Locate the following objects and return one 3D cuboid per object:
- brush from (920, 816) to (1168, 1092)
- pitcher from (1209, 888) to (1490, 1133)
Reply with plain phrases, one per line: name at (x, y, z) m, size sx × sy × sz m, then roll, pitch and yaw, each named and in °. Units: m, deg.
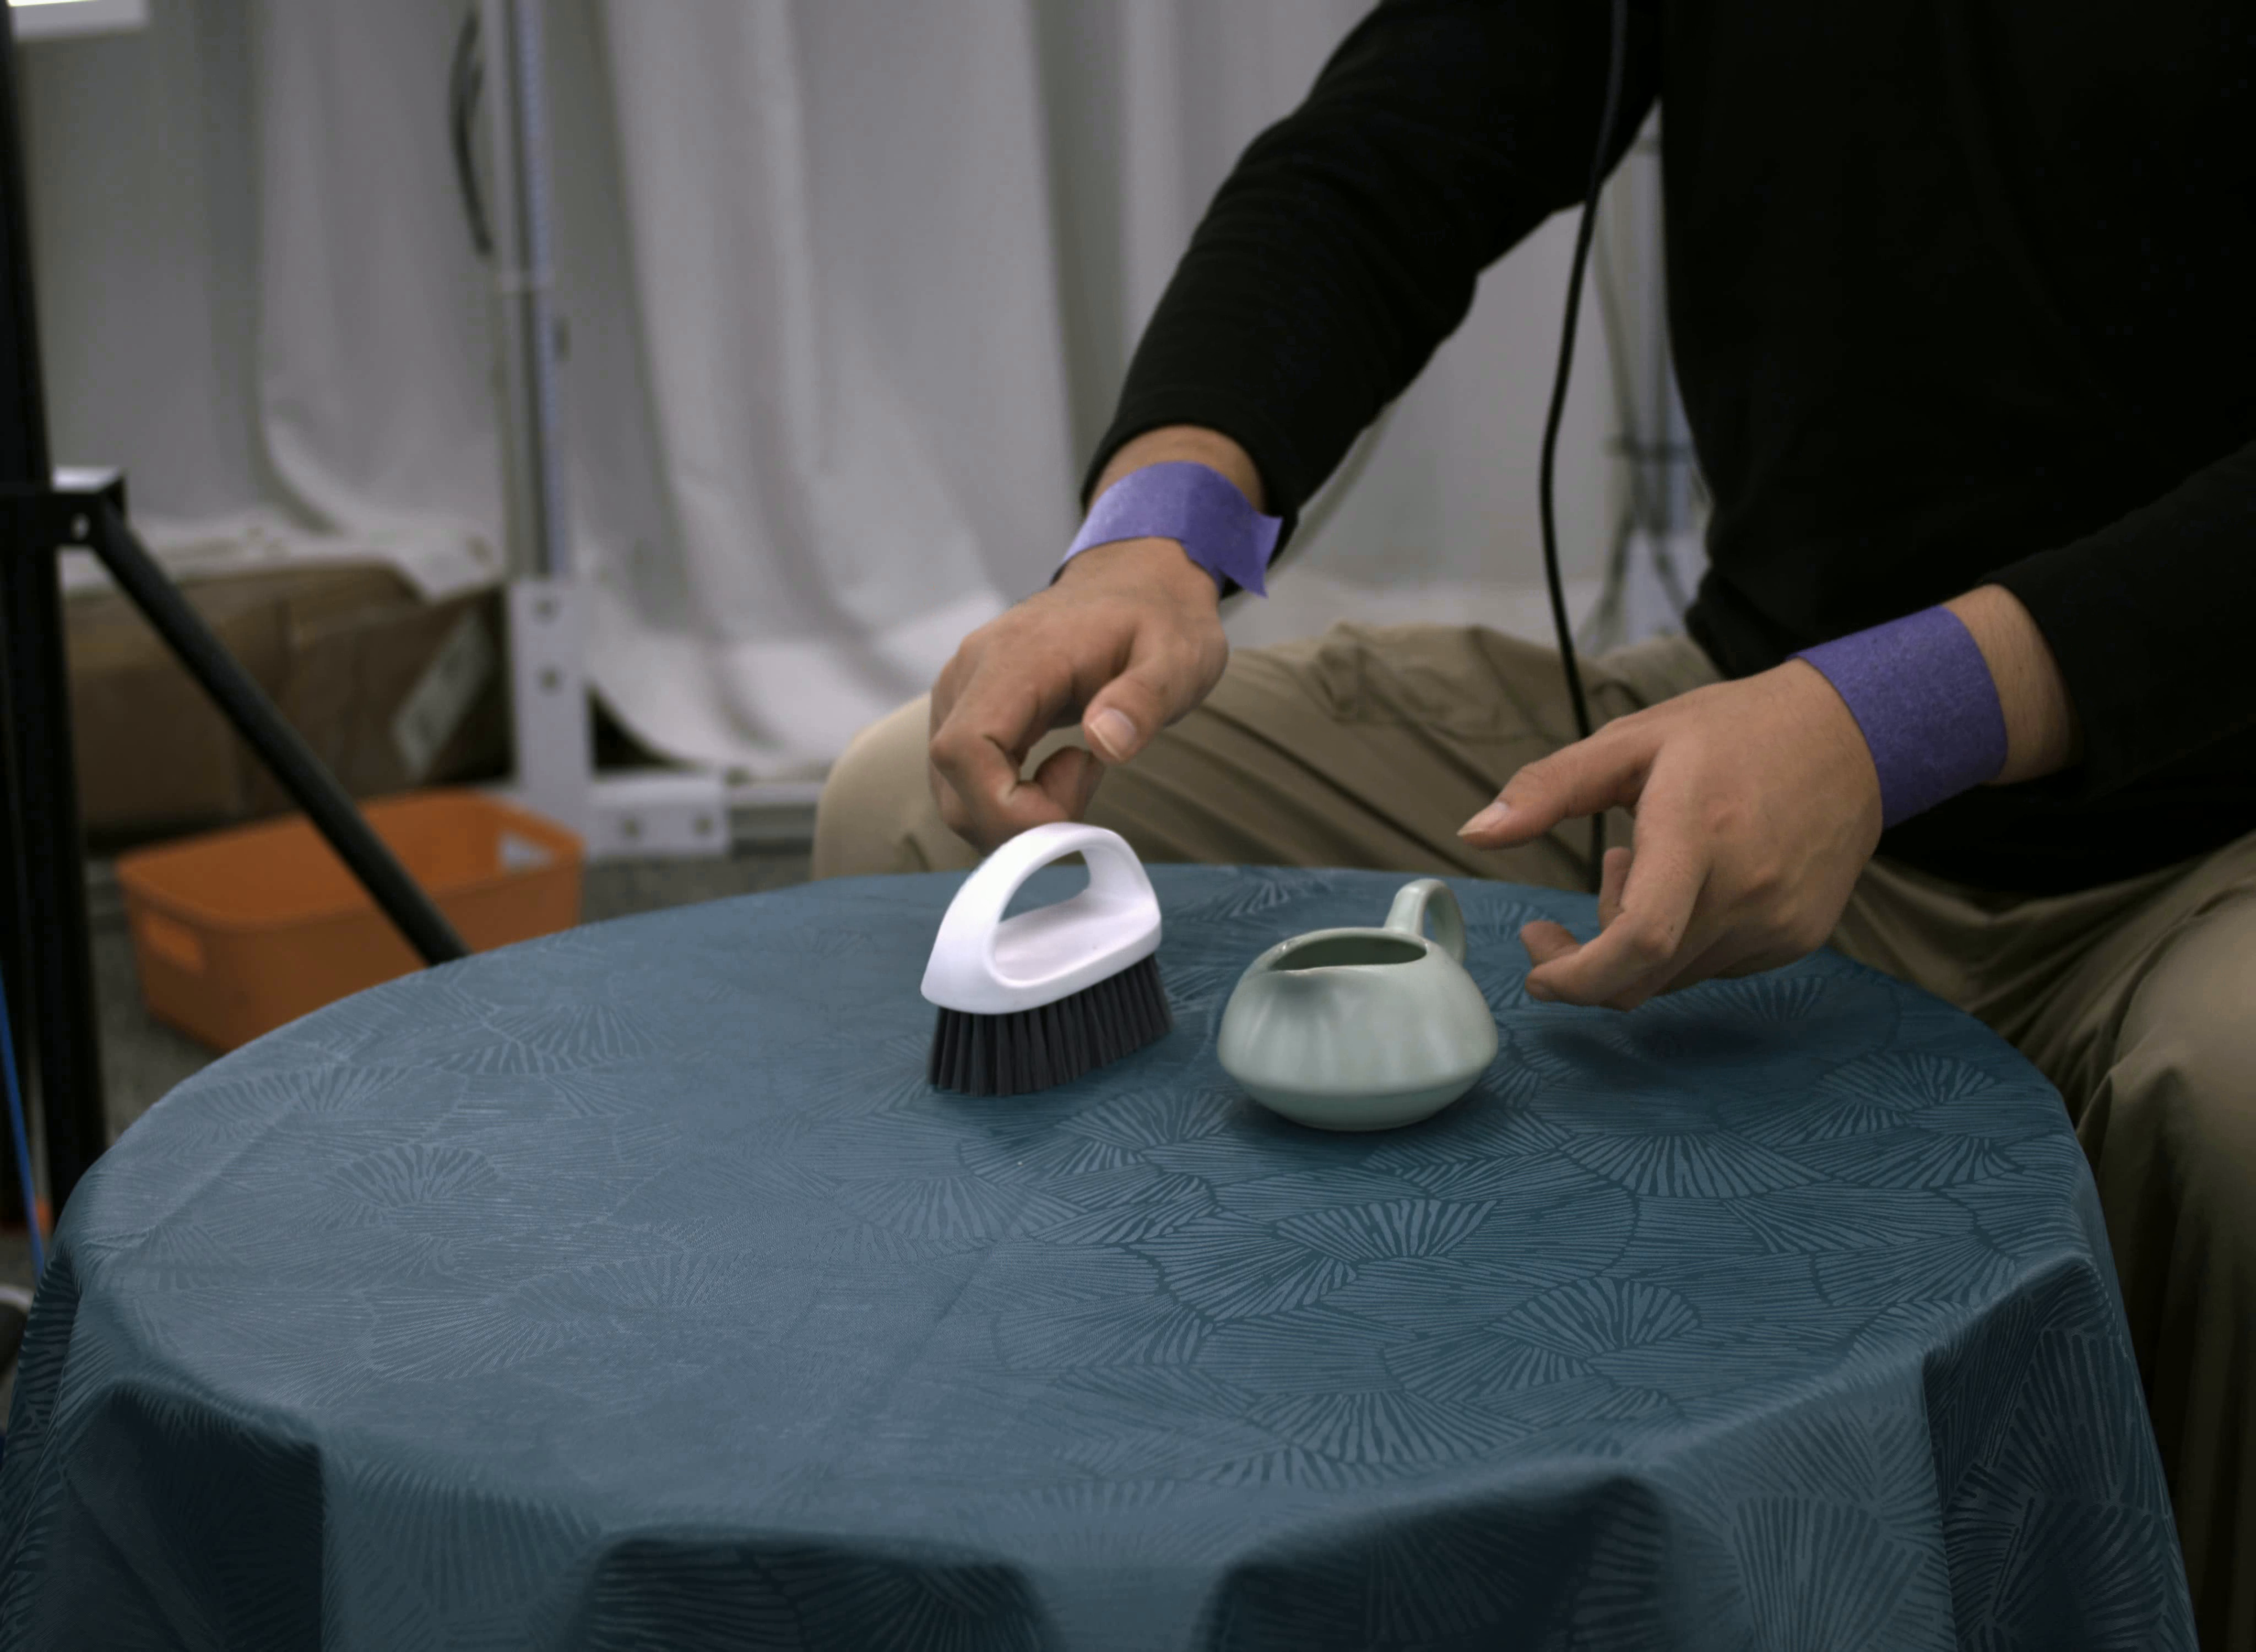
brush at (-0.027, 0.035, 1.684) m, size 0.051 × 0.072 × 0.097 m, roll 10°, pitch 21°, yaw 37°
pitcher at (0.073, 0.057, 1.627) m, size 0.087 × 0.060 × 0.106 m, roll 7°, pitch 15°, yaw 28°
